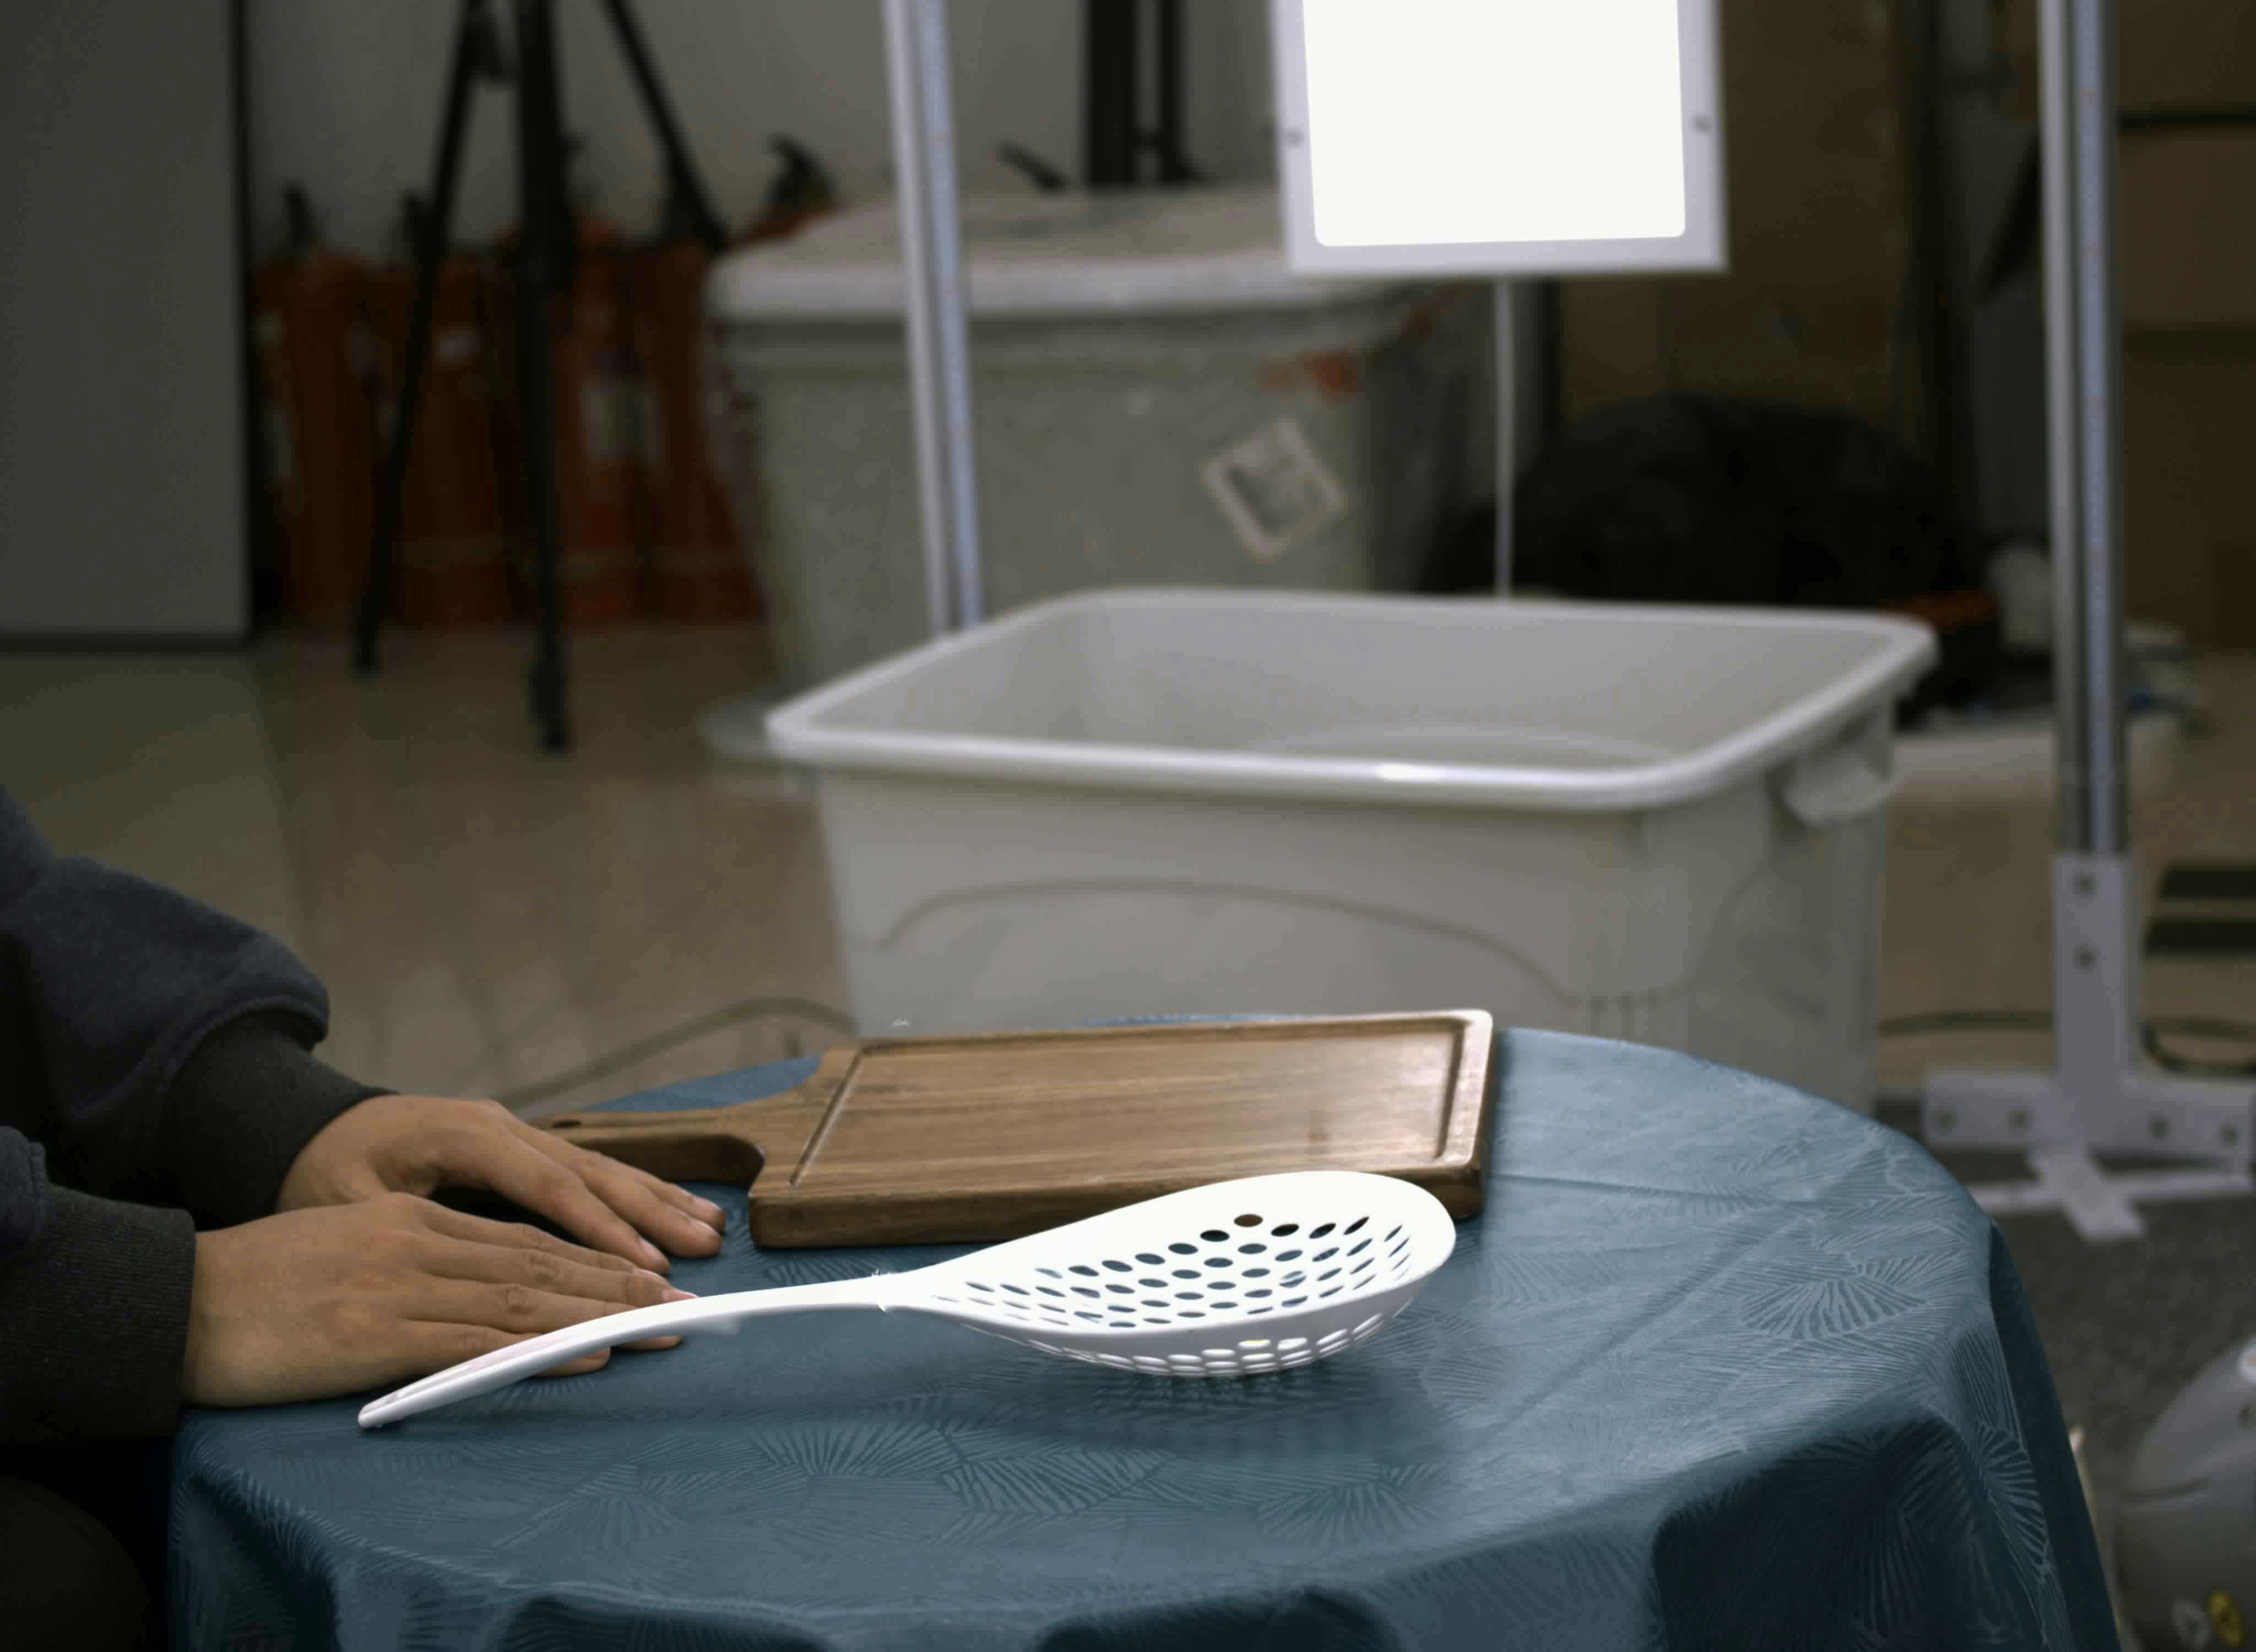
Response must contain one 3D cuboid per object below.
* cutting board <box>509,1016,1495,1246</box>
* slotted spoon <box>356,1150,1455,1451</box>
[{"bbox_3d":[-0.046,0.108,1.947,0.354,0.023,0.199,-3,13,8],"label":"cutting board"},{"bbox_3d":[-0.070,0.155,1.719,0.347,0.050,0.136,-5,16,2],"label":"slotted spoon"}]
